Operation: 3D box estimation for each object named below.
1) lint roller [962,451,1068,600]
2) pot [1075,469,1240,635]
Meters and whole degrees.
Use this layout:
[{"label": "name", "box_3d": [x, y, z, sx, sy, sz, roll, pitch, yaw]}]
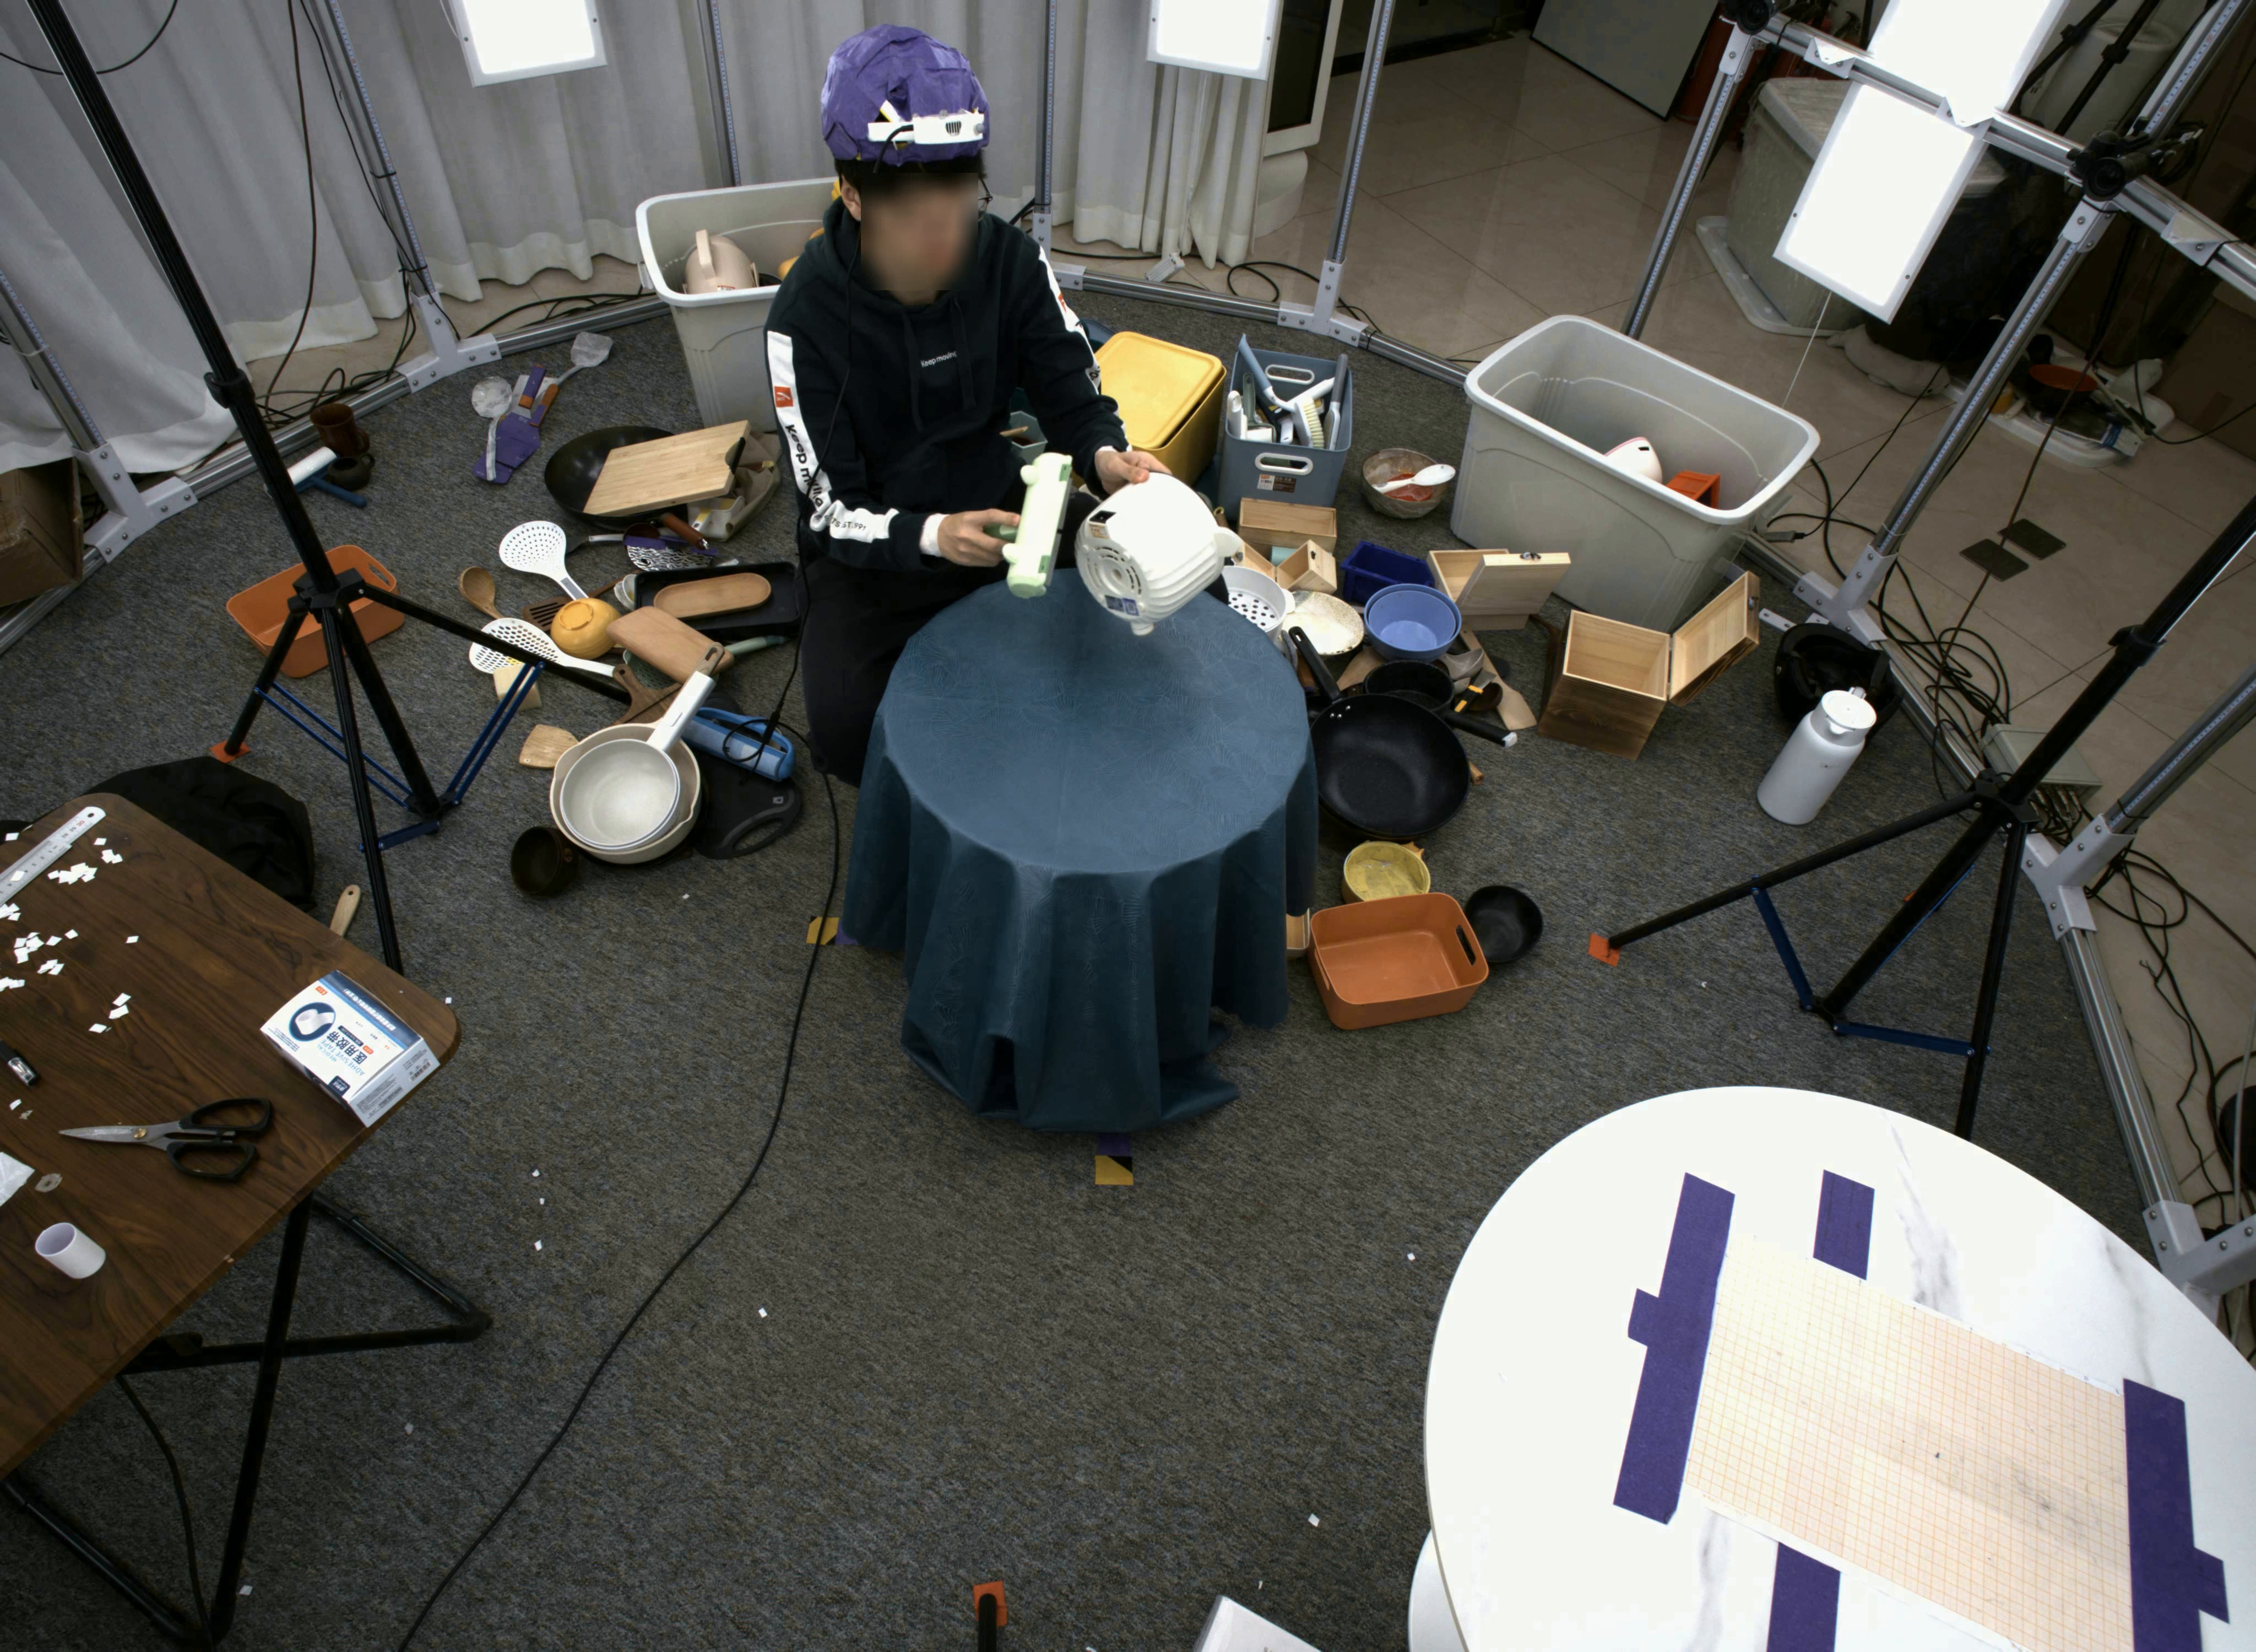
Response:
[{"label": "lint roller", "box_3d": [-0.169, -0.403, 1.738, 0.184, 0.081, 0.201, 1, 72, 33]}, {"label": "pot", "box_3d": [0.023, -0.372, 1.772, 0.243, 0.186, 0.144, 21, 54, 41]}]
